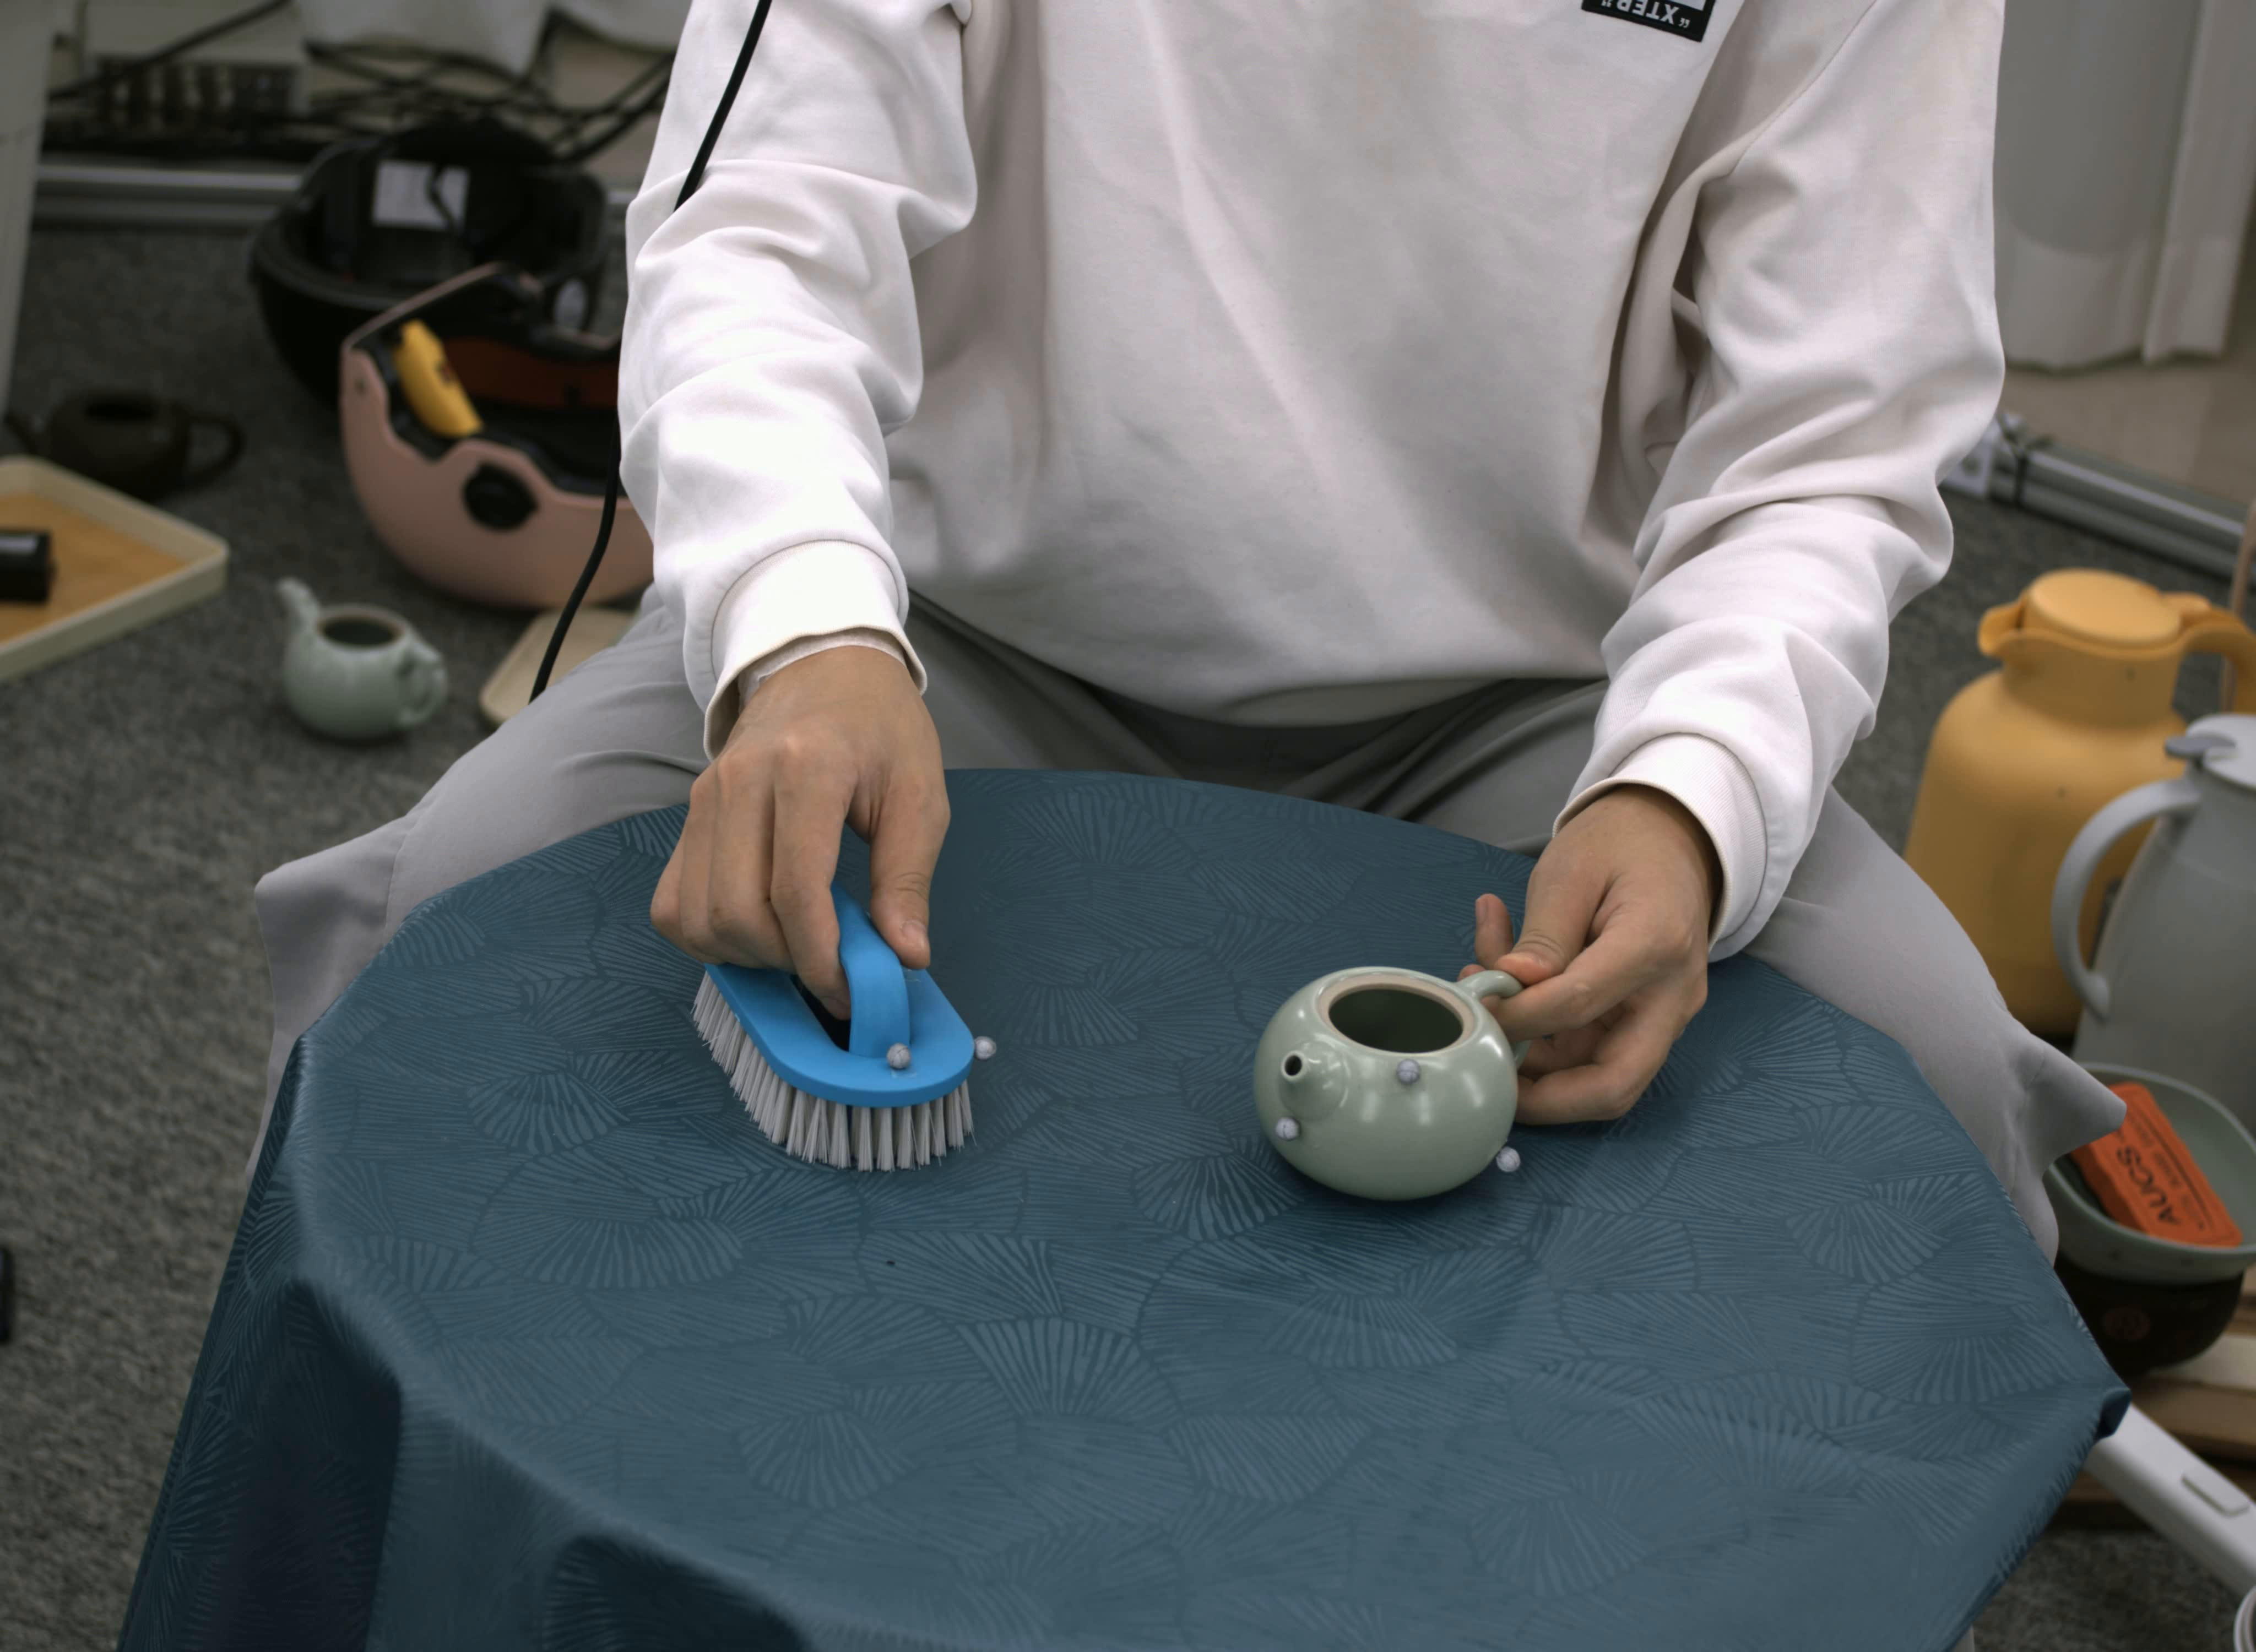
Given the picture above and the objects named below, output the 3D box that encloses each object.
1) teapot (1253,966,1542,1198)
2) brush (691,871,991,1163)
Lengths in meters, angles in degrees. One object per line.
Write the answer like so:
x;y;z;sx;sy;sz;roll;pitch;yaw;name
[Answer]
0.096;0.087;1.835;0.128;0.061;0.092;-16;32;-38;teapot
-0.102;0.057;1.844;0.084;0.063;0.143;-11;29;-20;brush
